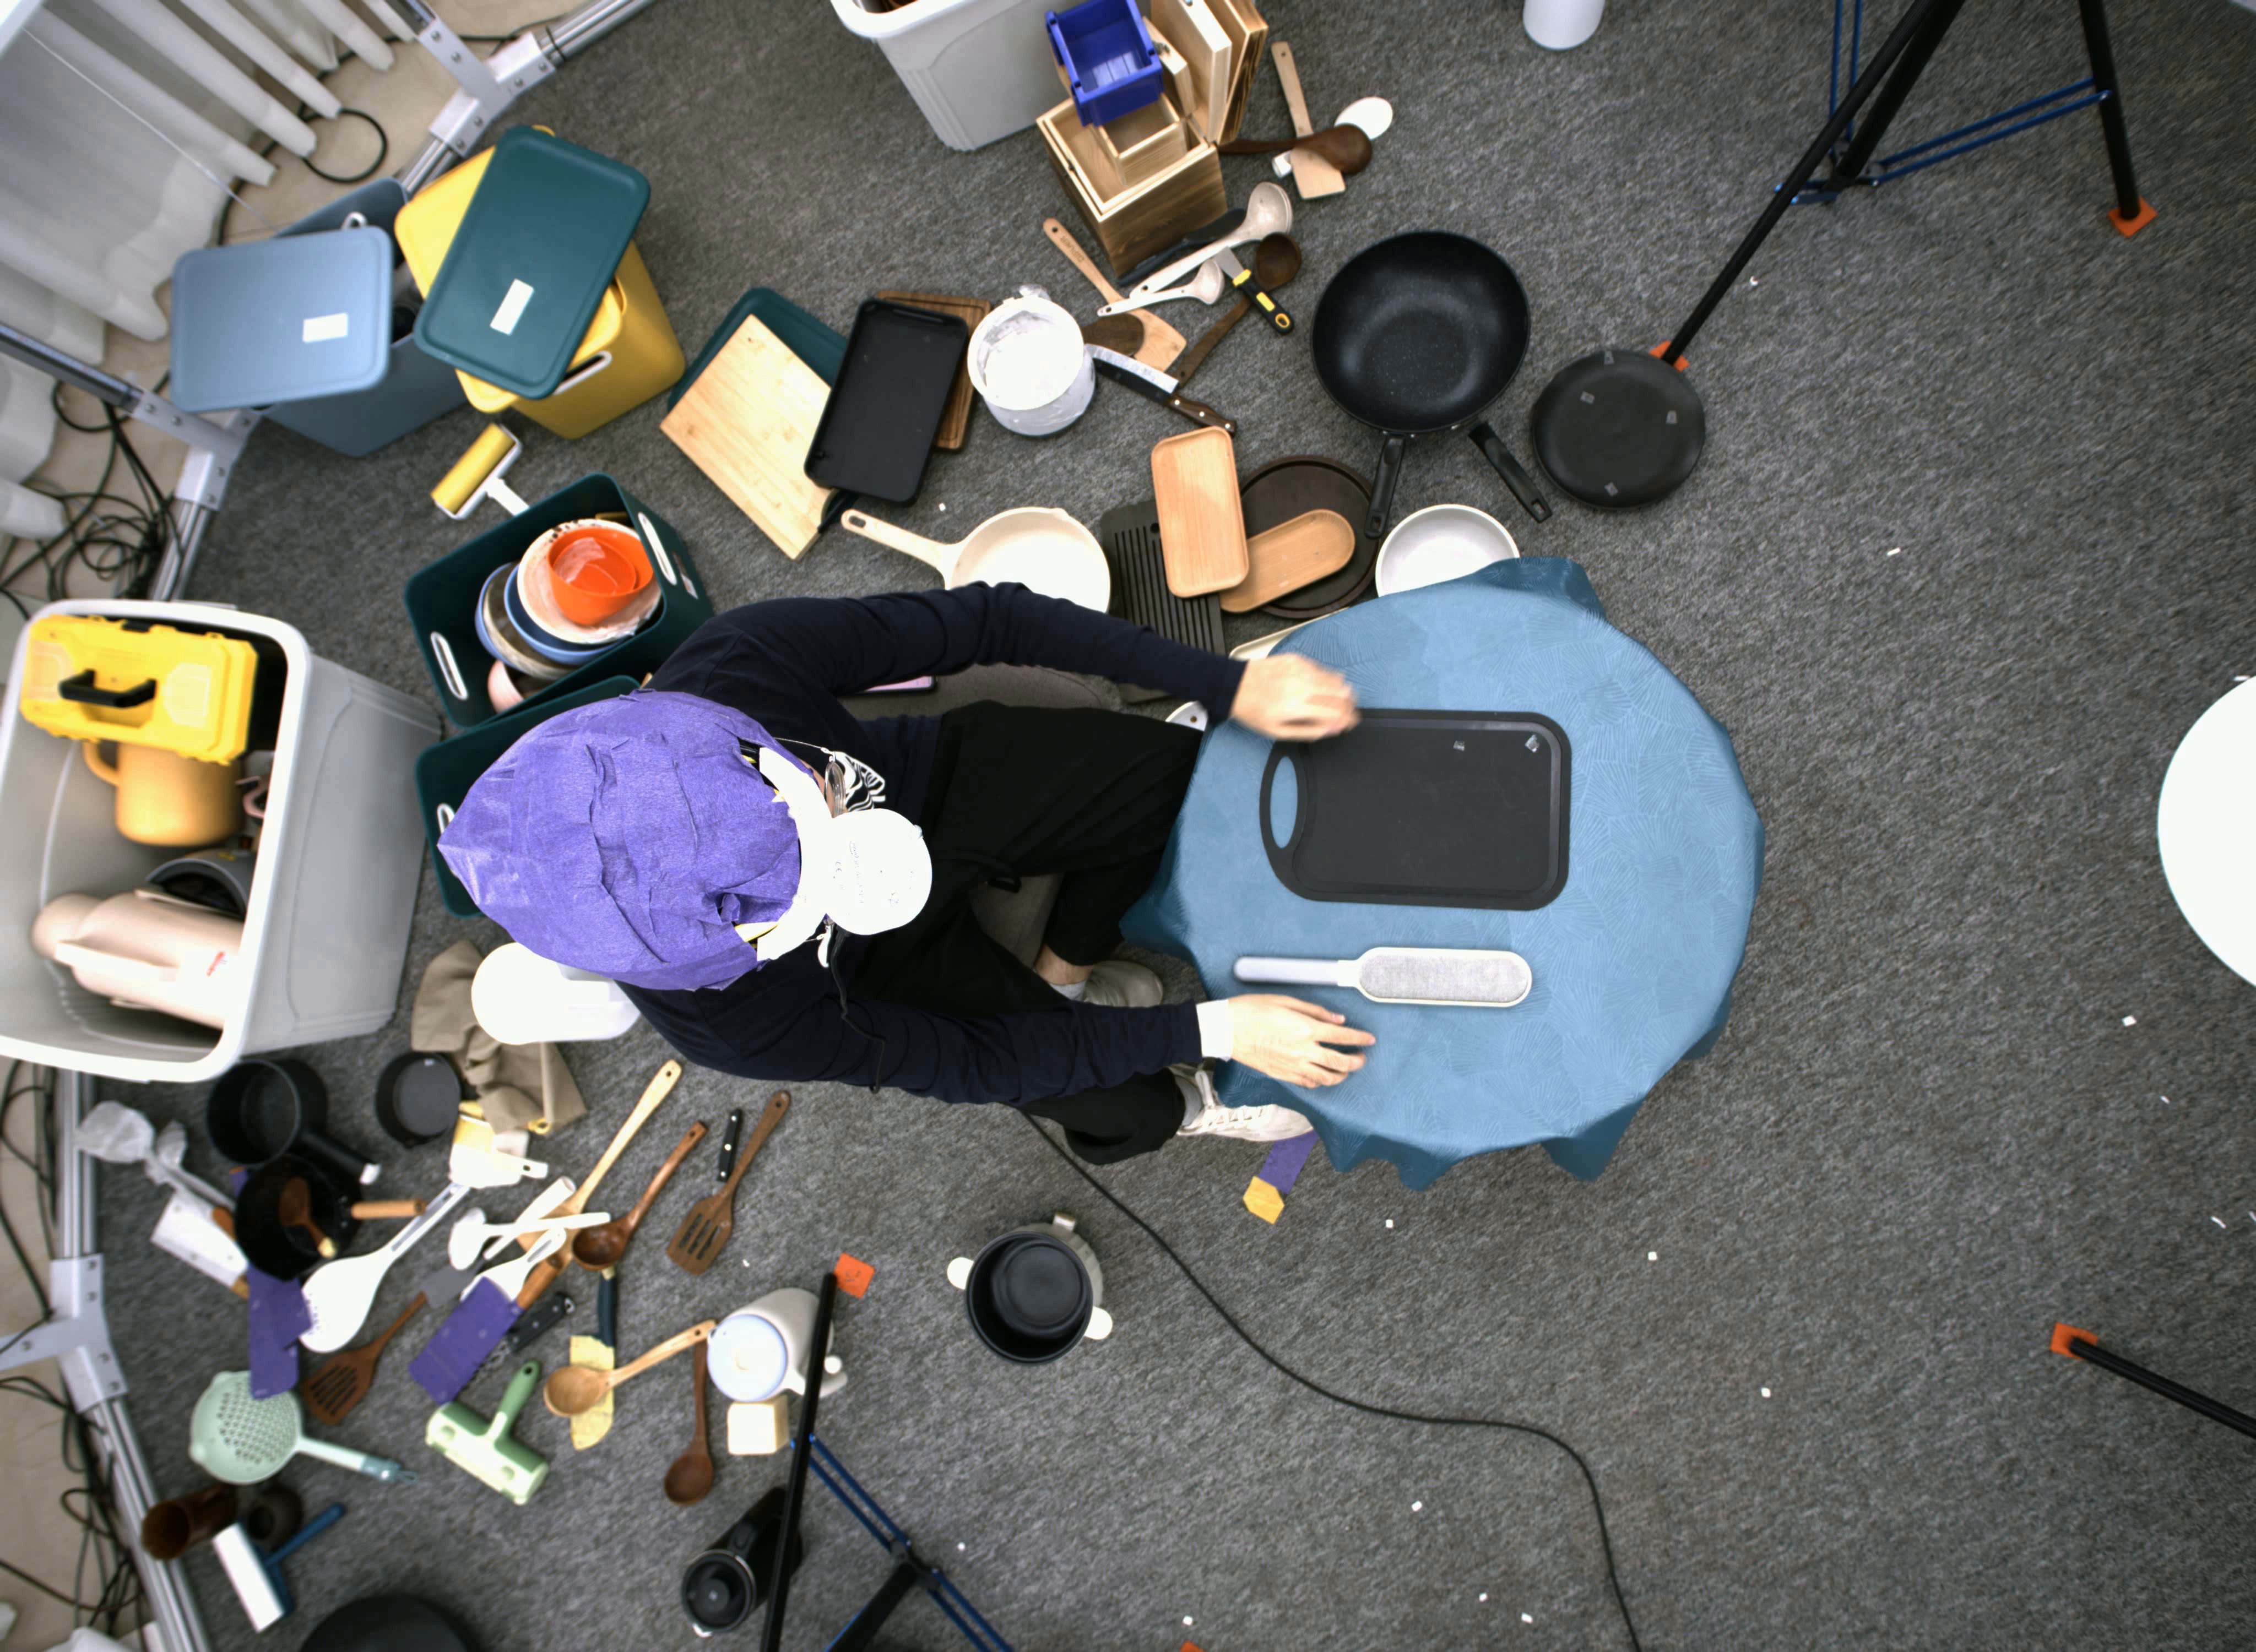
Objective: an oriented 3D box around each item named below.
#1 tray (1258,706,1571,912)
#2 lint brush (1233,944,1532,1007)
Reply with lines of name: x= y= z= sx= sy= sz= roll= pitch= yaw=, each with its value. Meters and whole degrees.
tray: x=0.299 y=-0.021 z=1.456 sx=0.326 sy=0.010 sz=0.210 roll=3 pitch=87 yaw=11
lint brush: x=0.264 y=0.152 z=1.443 sx=0.310 sy=0.021 sz=0.060 roll=1 pitch=92 yaw=11
